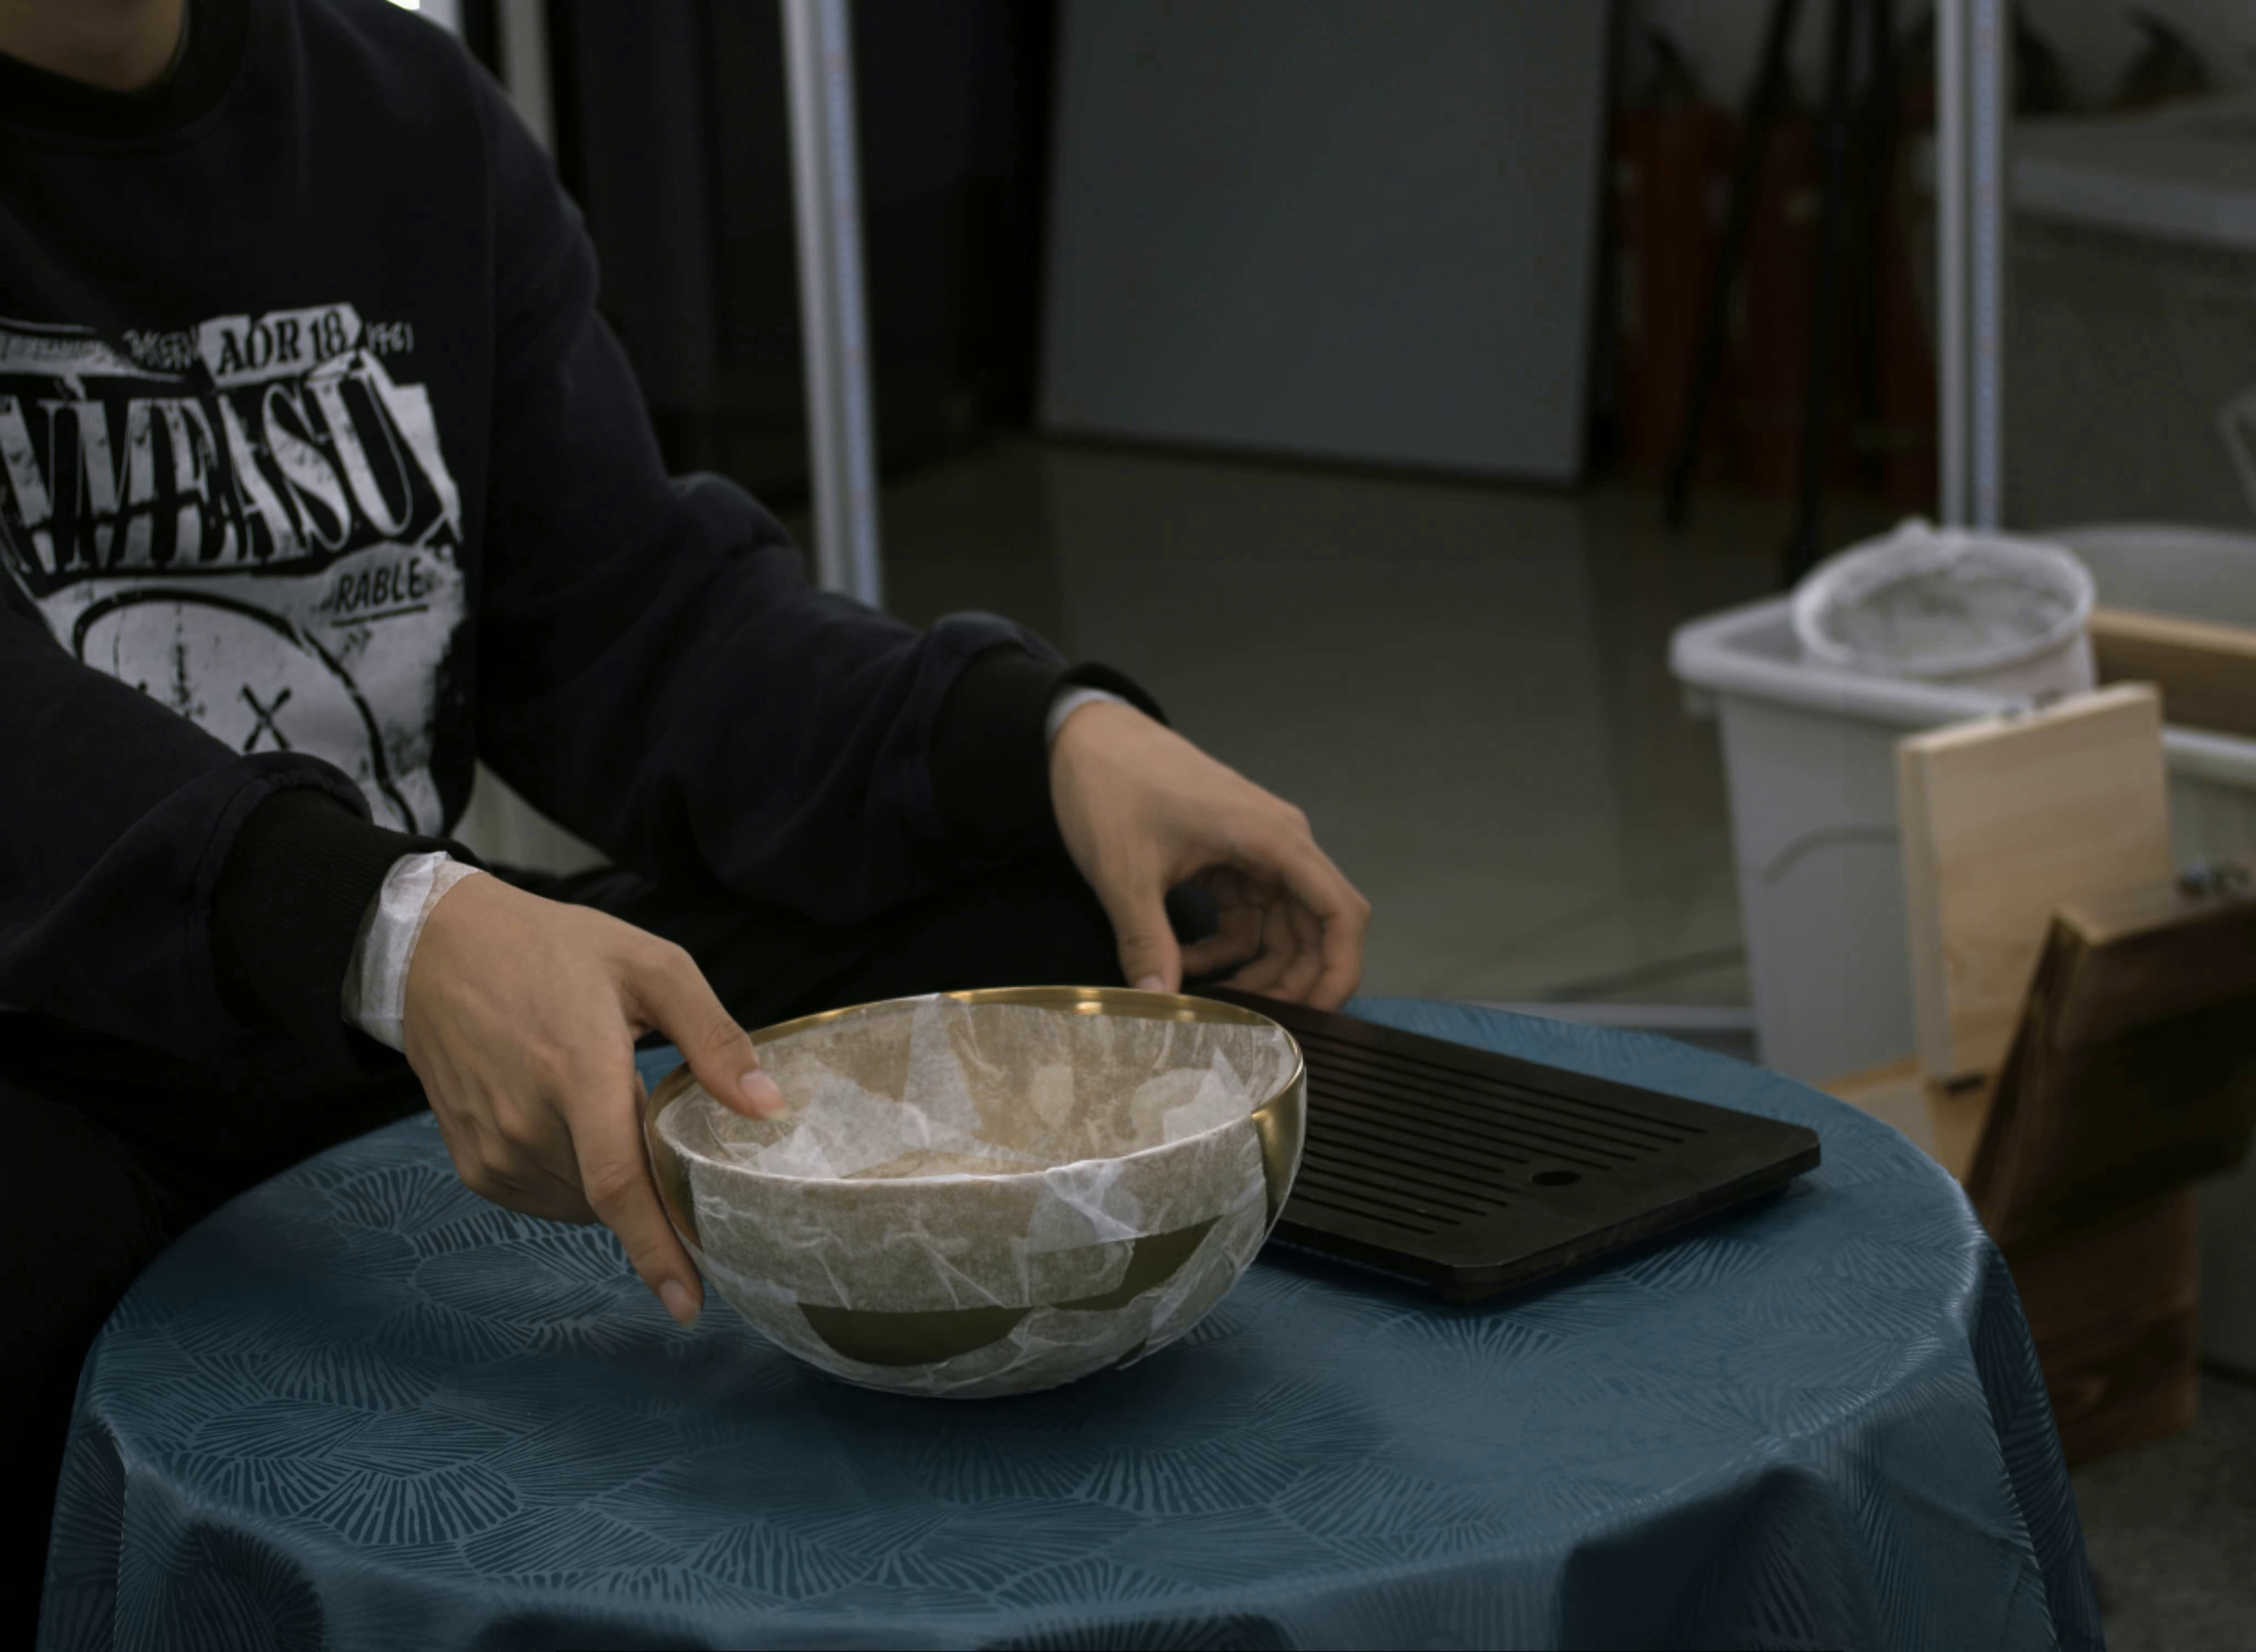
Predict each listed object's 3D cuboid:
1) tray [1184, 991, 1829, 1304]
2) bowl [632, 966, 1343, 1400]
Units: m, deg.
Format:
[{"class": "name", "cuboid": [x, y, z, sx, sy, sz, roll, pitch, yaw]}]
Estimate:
[{"class": "tray", "cuboid": [0.069, 0.103, 1.787, 0.166, 0.019, 0.309, -16, 18, -39]}, {"class": "bowl", "cuboid": [-0.039, 0.115, 1.611, 0.212, 0.095, 0.215, -6, 14, 1]}]
